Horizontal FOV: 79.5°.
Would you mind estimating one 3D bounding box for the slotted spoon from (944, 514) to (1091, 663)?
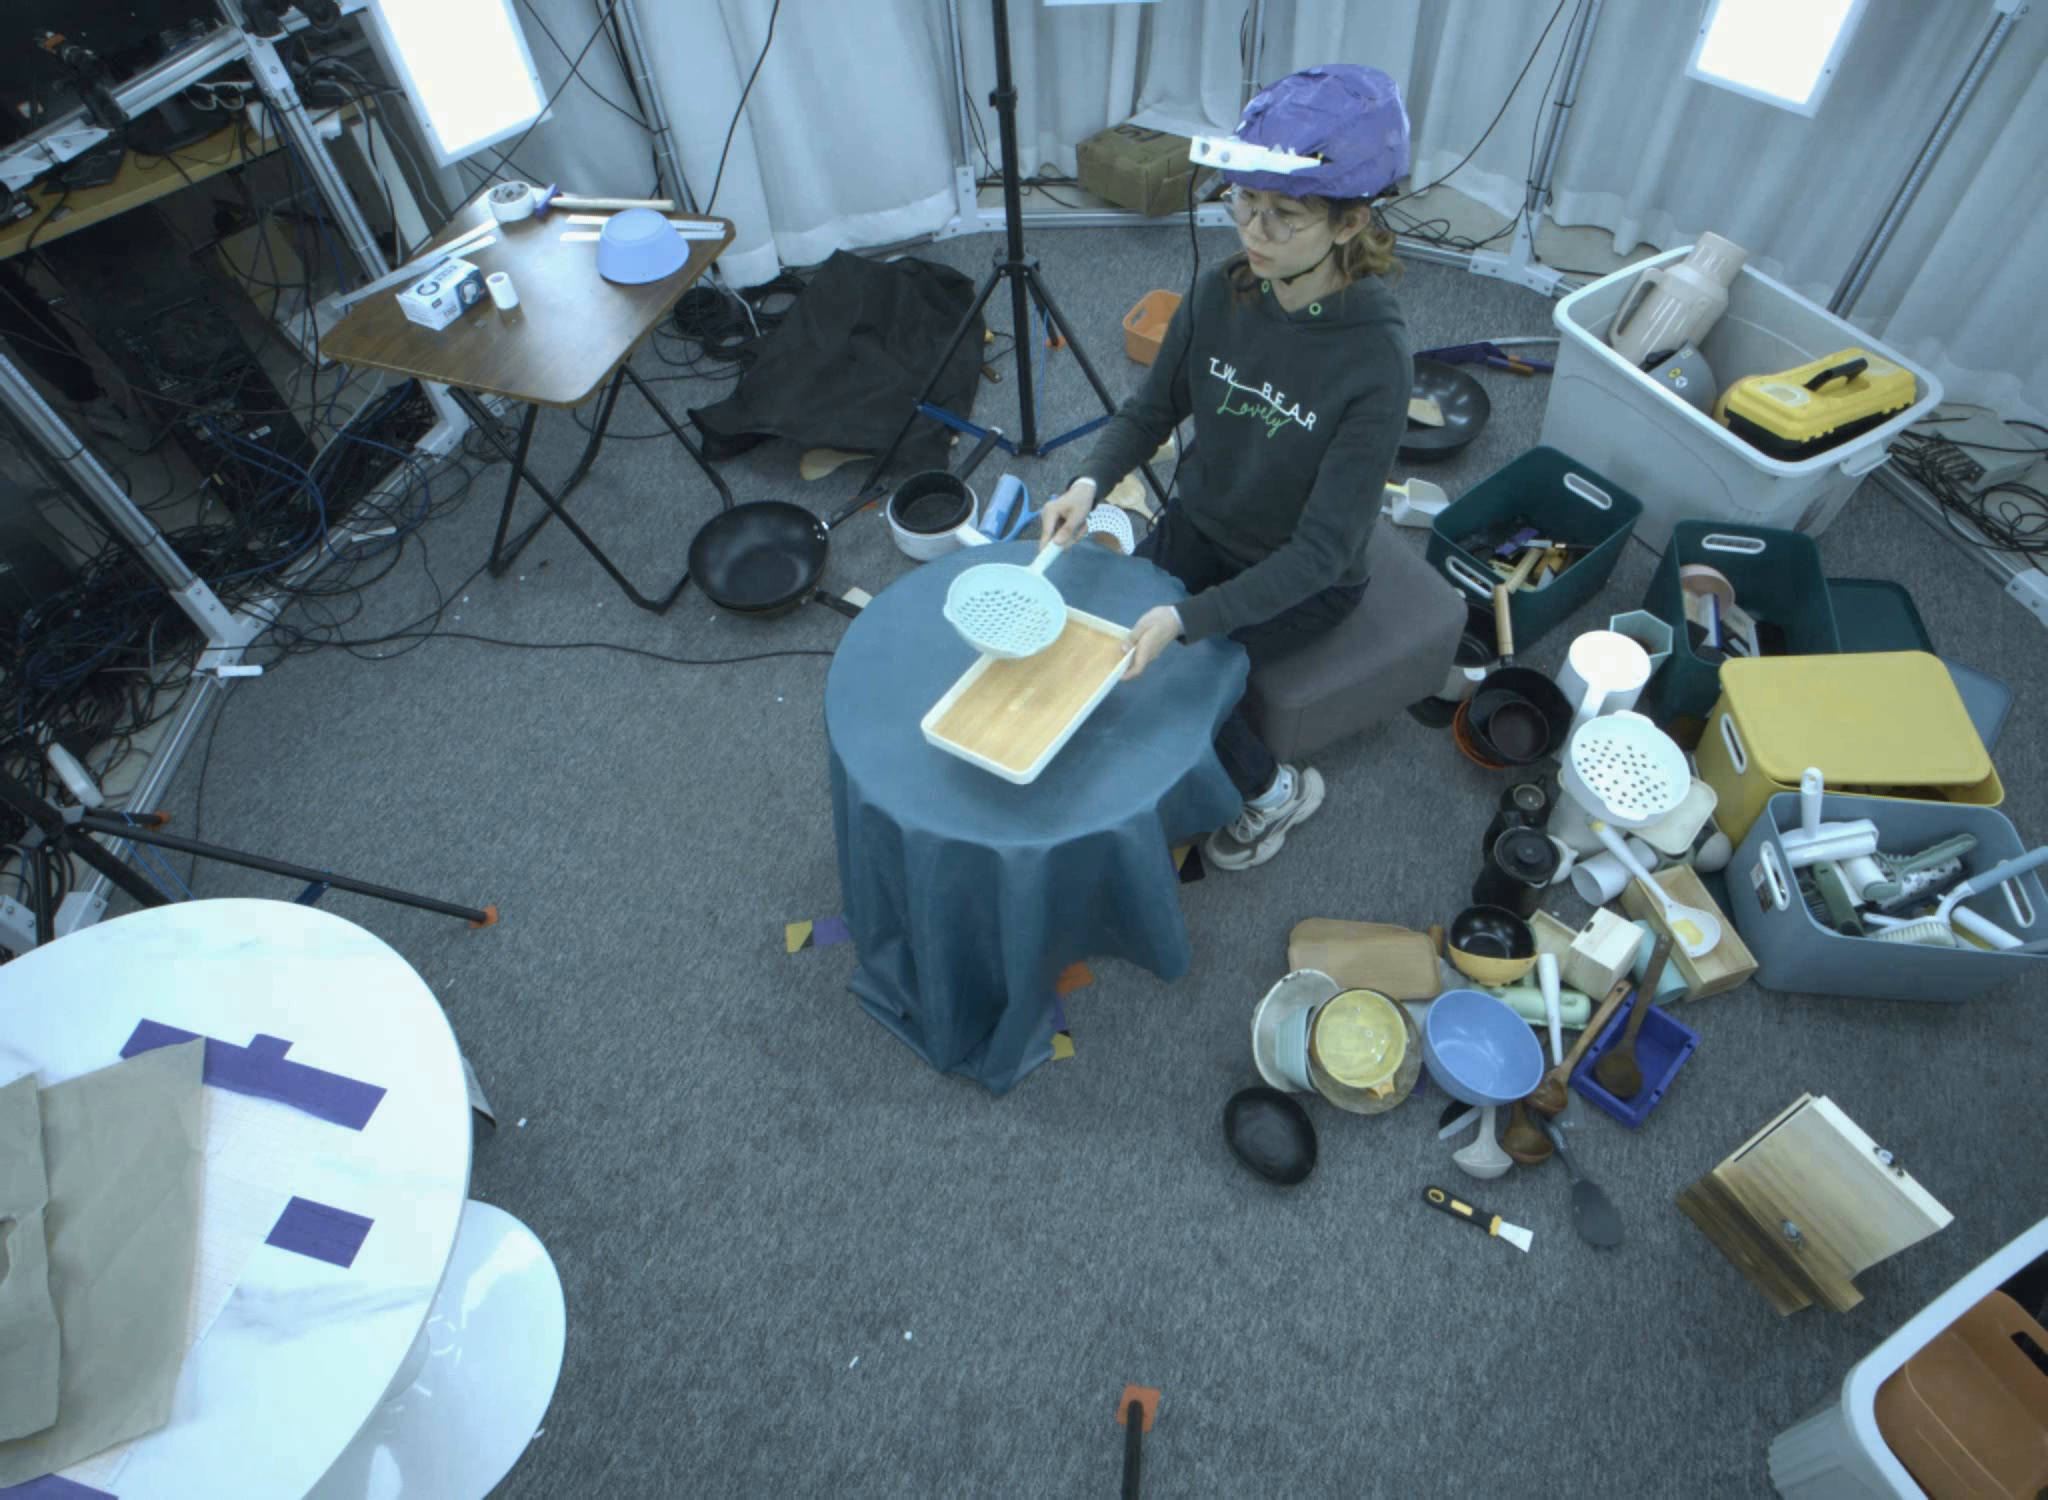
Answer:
[{"bbox_3d":[0.017,-0.253,1.791,0.168,0.075,0.359,29,60,6],"label":"slotted spoon"}]

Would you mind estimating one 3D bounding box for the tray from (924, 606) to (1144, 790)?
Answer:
[{"bbox_3d":[0.017,-0.084,1.746,0.188,0.028,0.301,26,59,27],"label":"tray"}]
